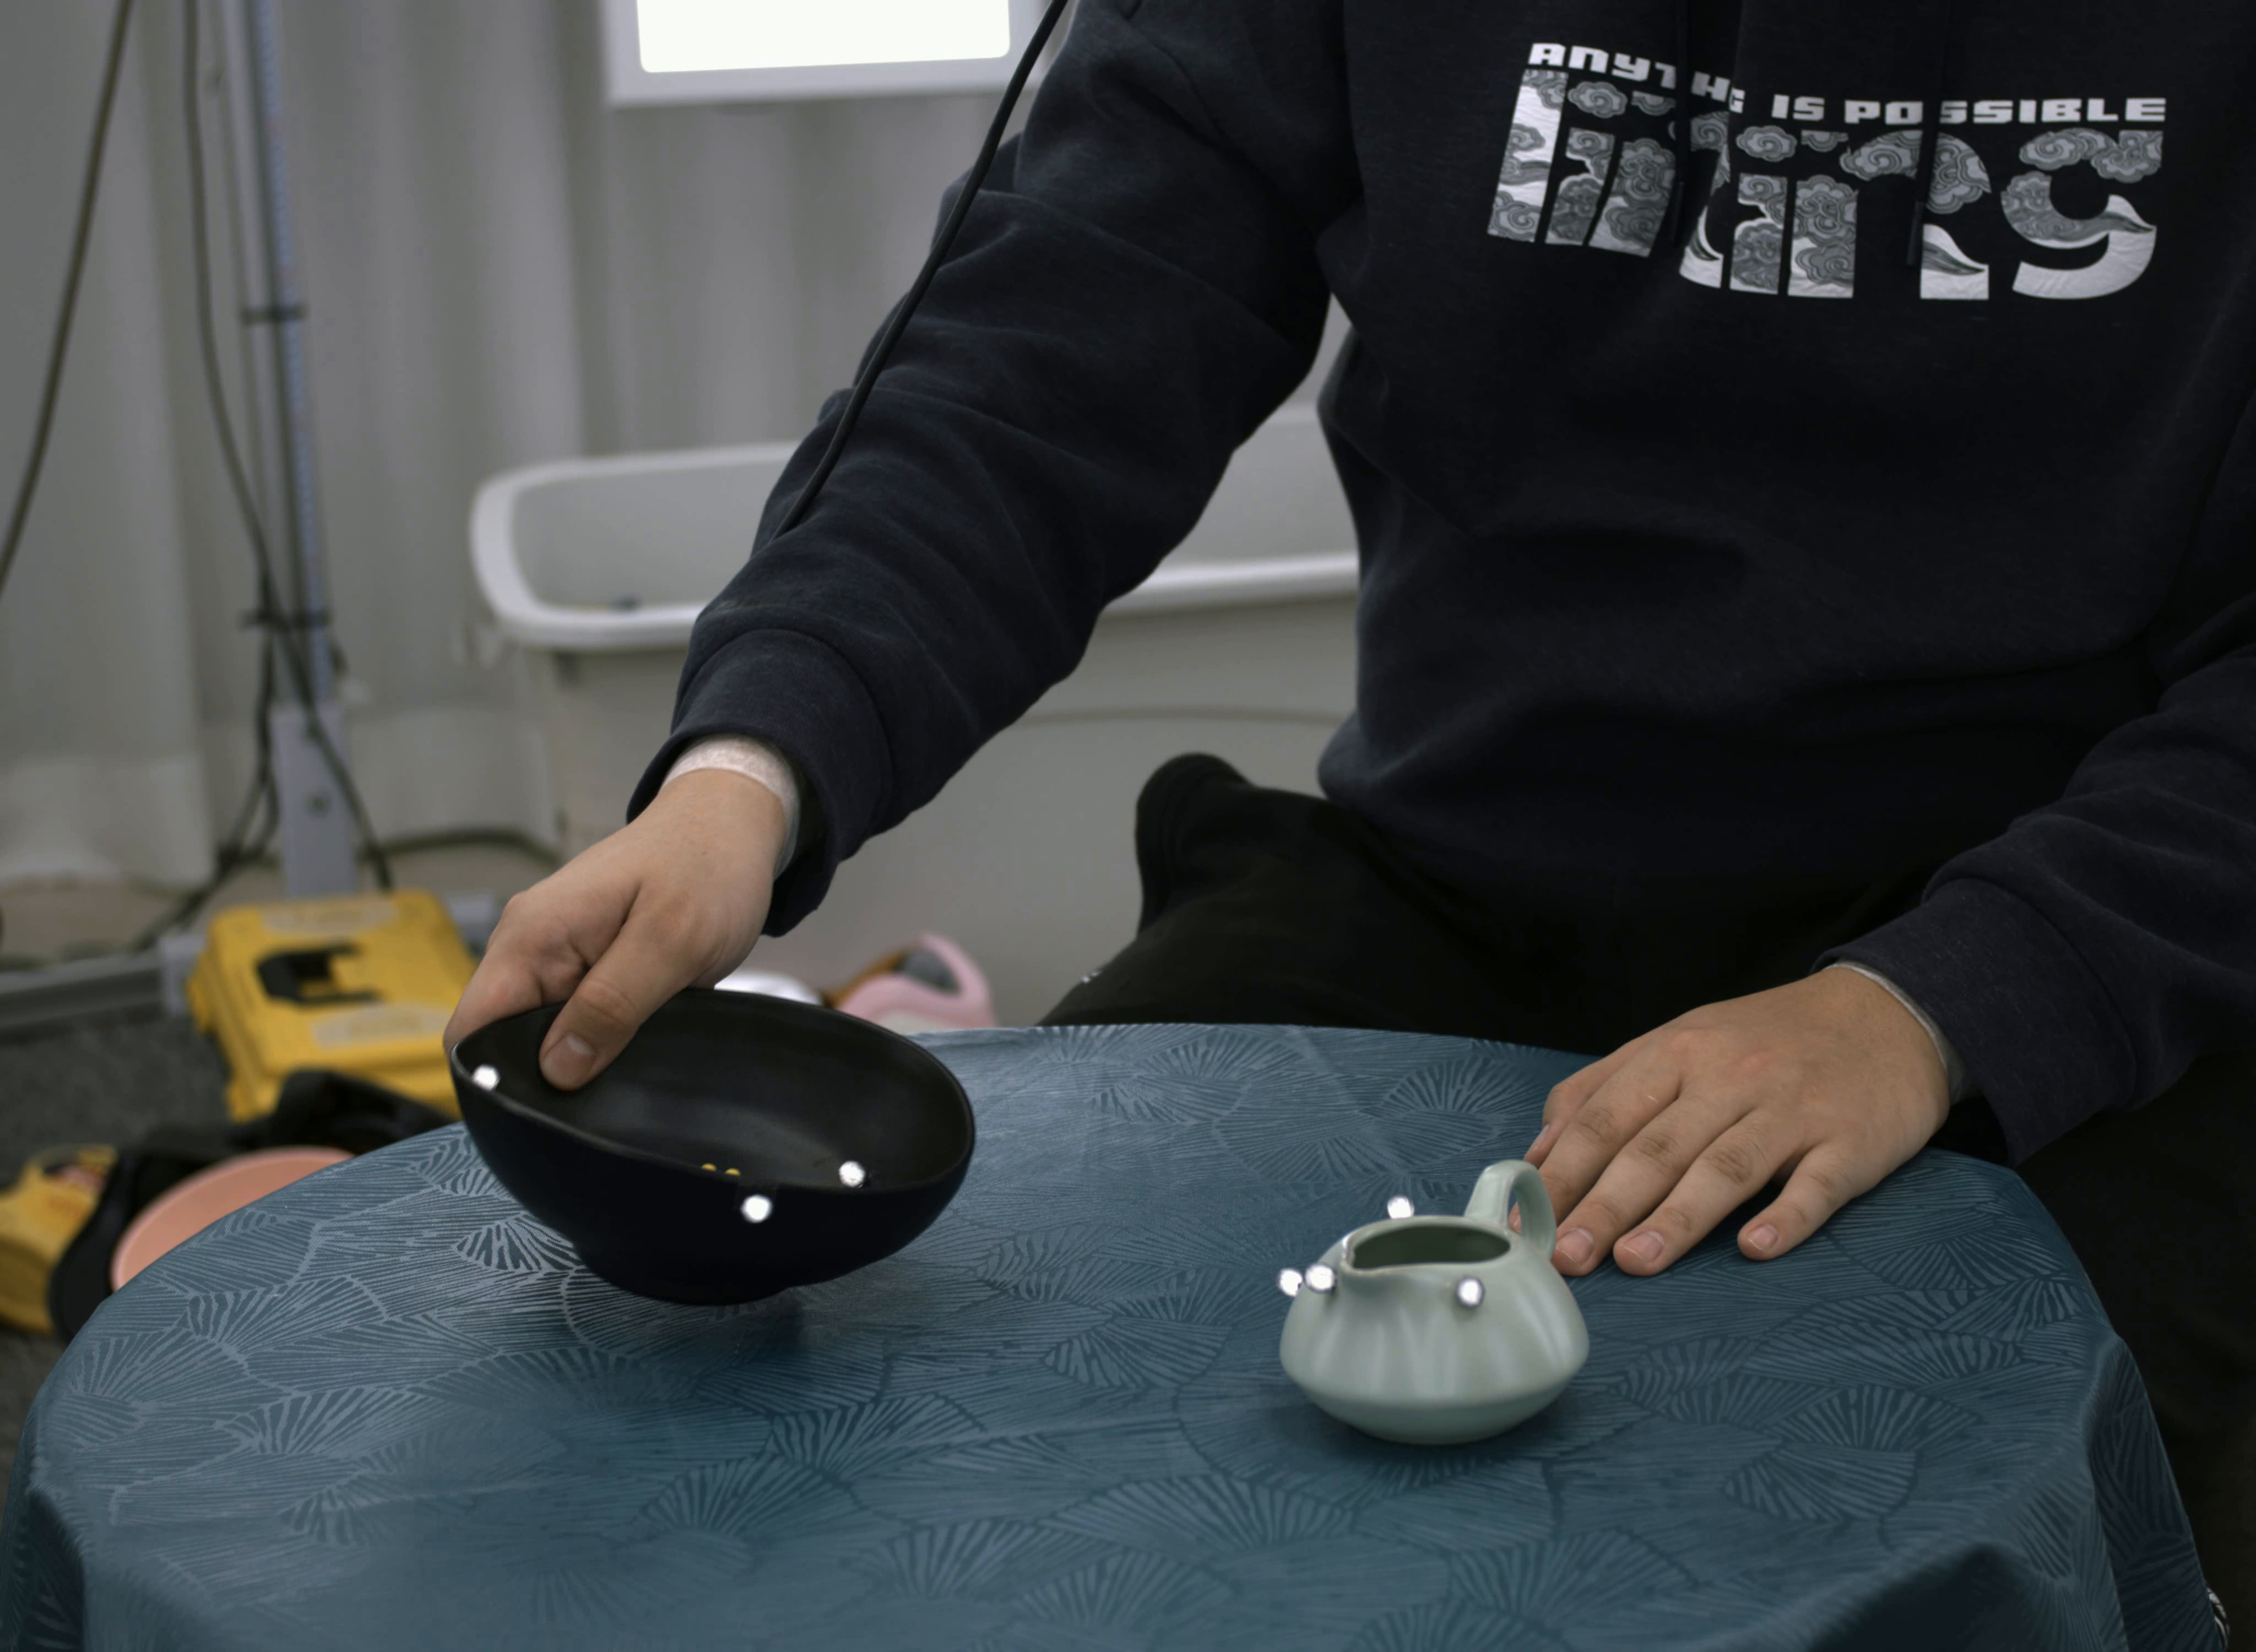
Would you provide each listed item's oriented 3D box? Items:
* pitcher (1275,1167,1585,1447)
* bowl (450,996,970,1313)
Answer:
[{"bbox_3d":[0.089,0.134,1.522,0.086,0.060,0.108,7,15,29],"label":"pitcher"},{"bbox_3d":[-0.129,0.104,1.637,0.171,0.066,0.137,17,21,29],"label":"bowl"}]
